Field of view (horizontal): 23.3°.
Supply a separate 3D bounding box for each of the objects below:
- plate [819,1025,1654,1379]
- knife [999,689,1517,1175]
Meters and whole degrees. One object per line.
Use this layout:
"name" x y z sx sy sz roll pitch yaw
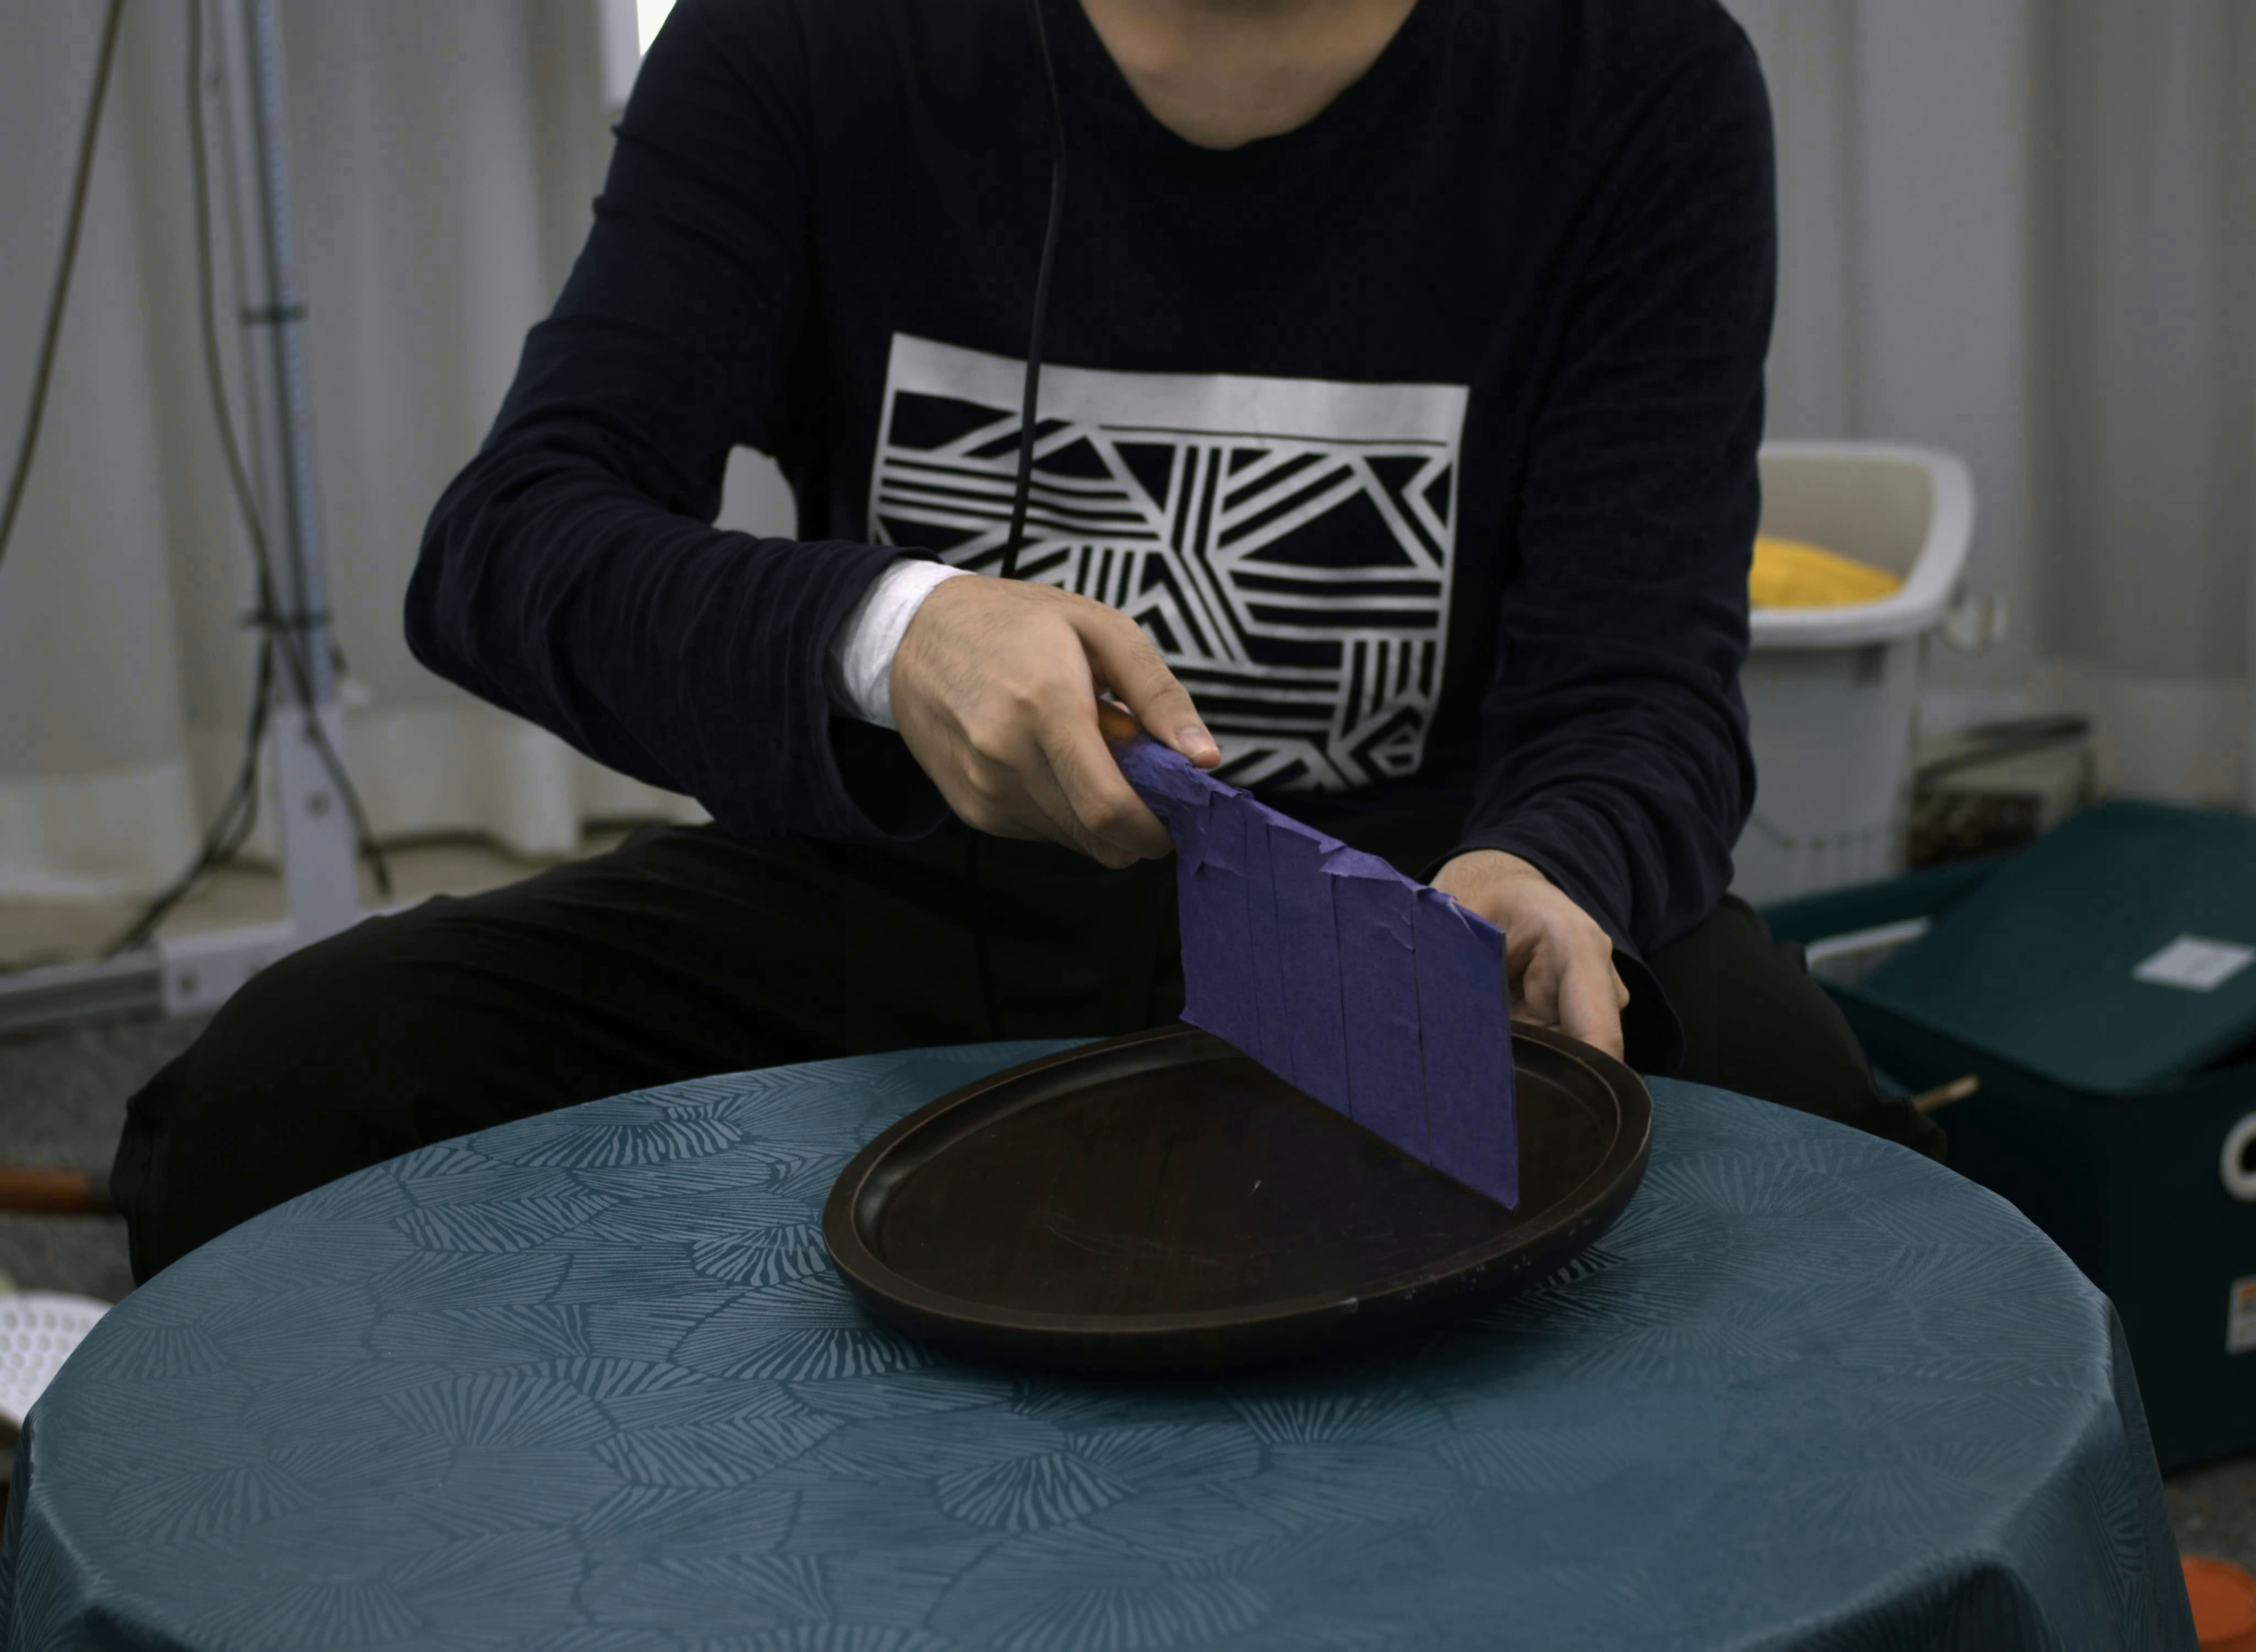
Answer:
"plate" 0.033 0.109 1.644 0.254 0.029 0.257 -7 18 2
"knife" 0.036 0.032 1.707 0.032 0.103 0.318 -9 17 -23
